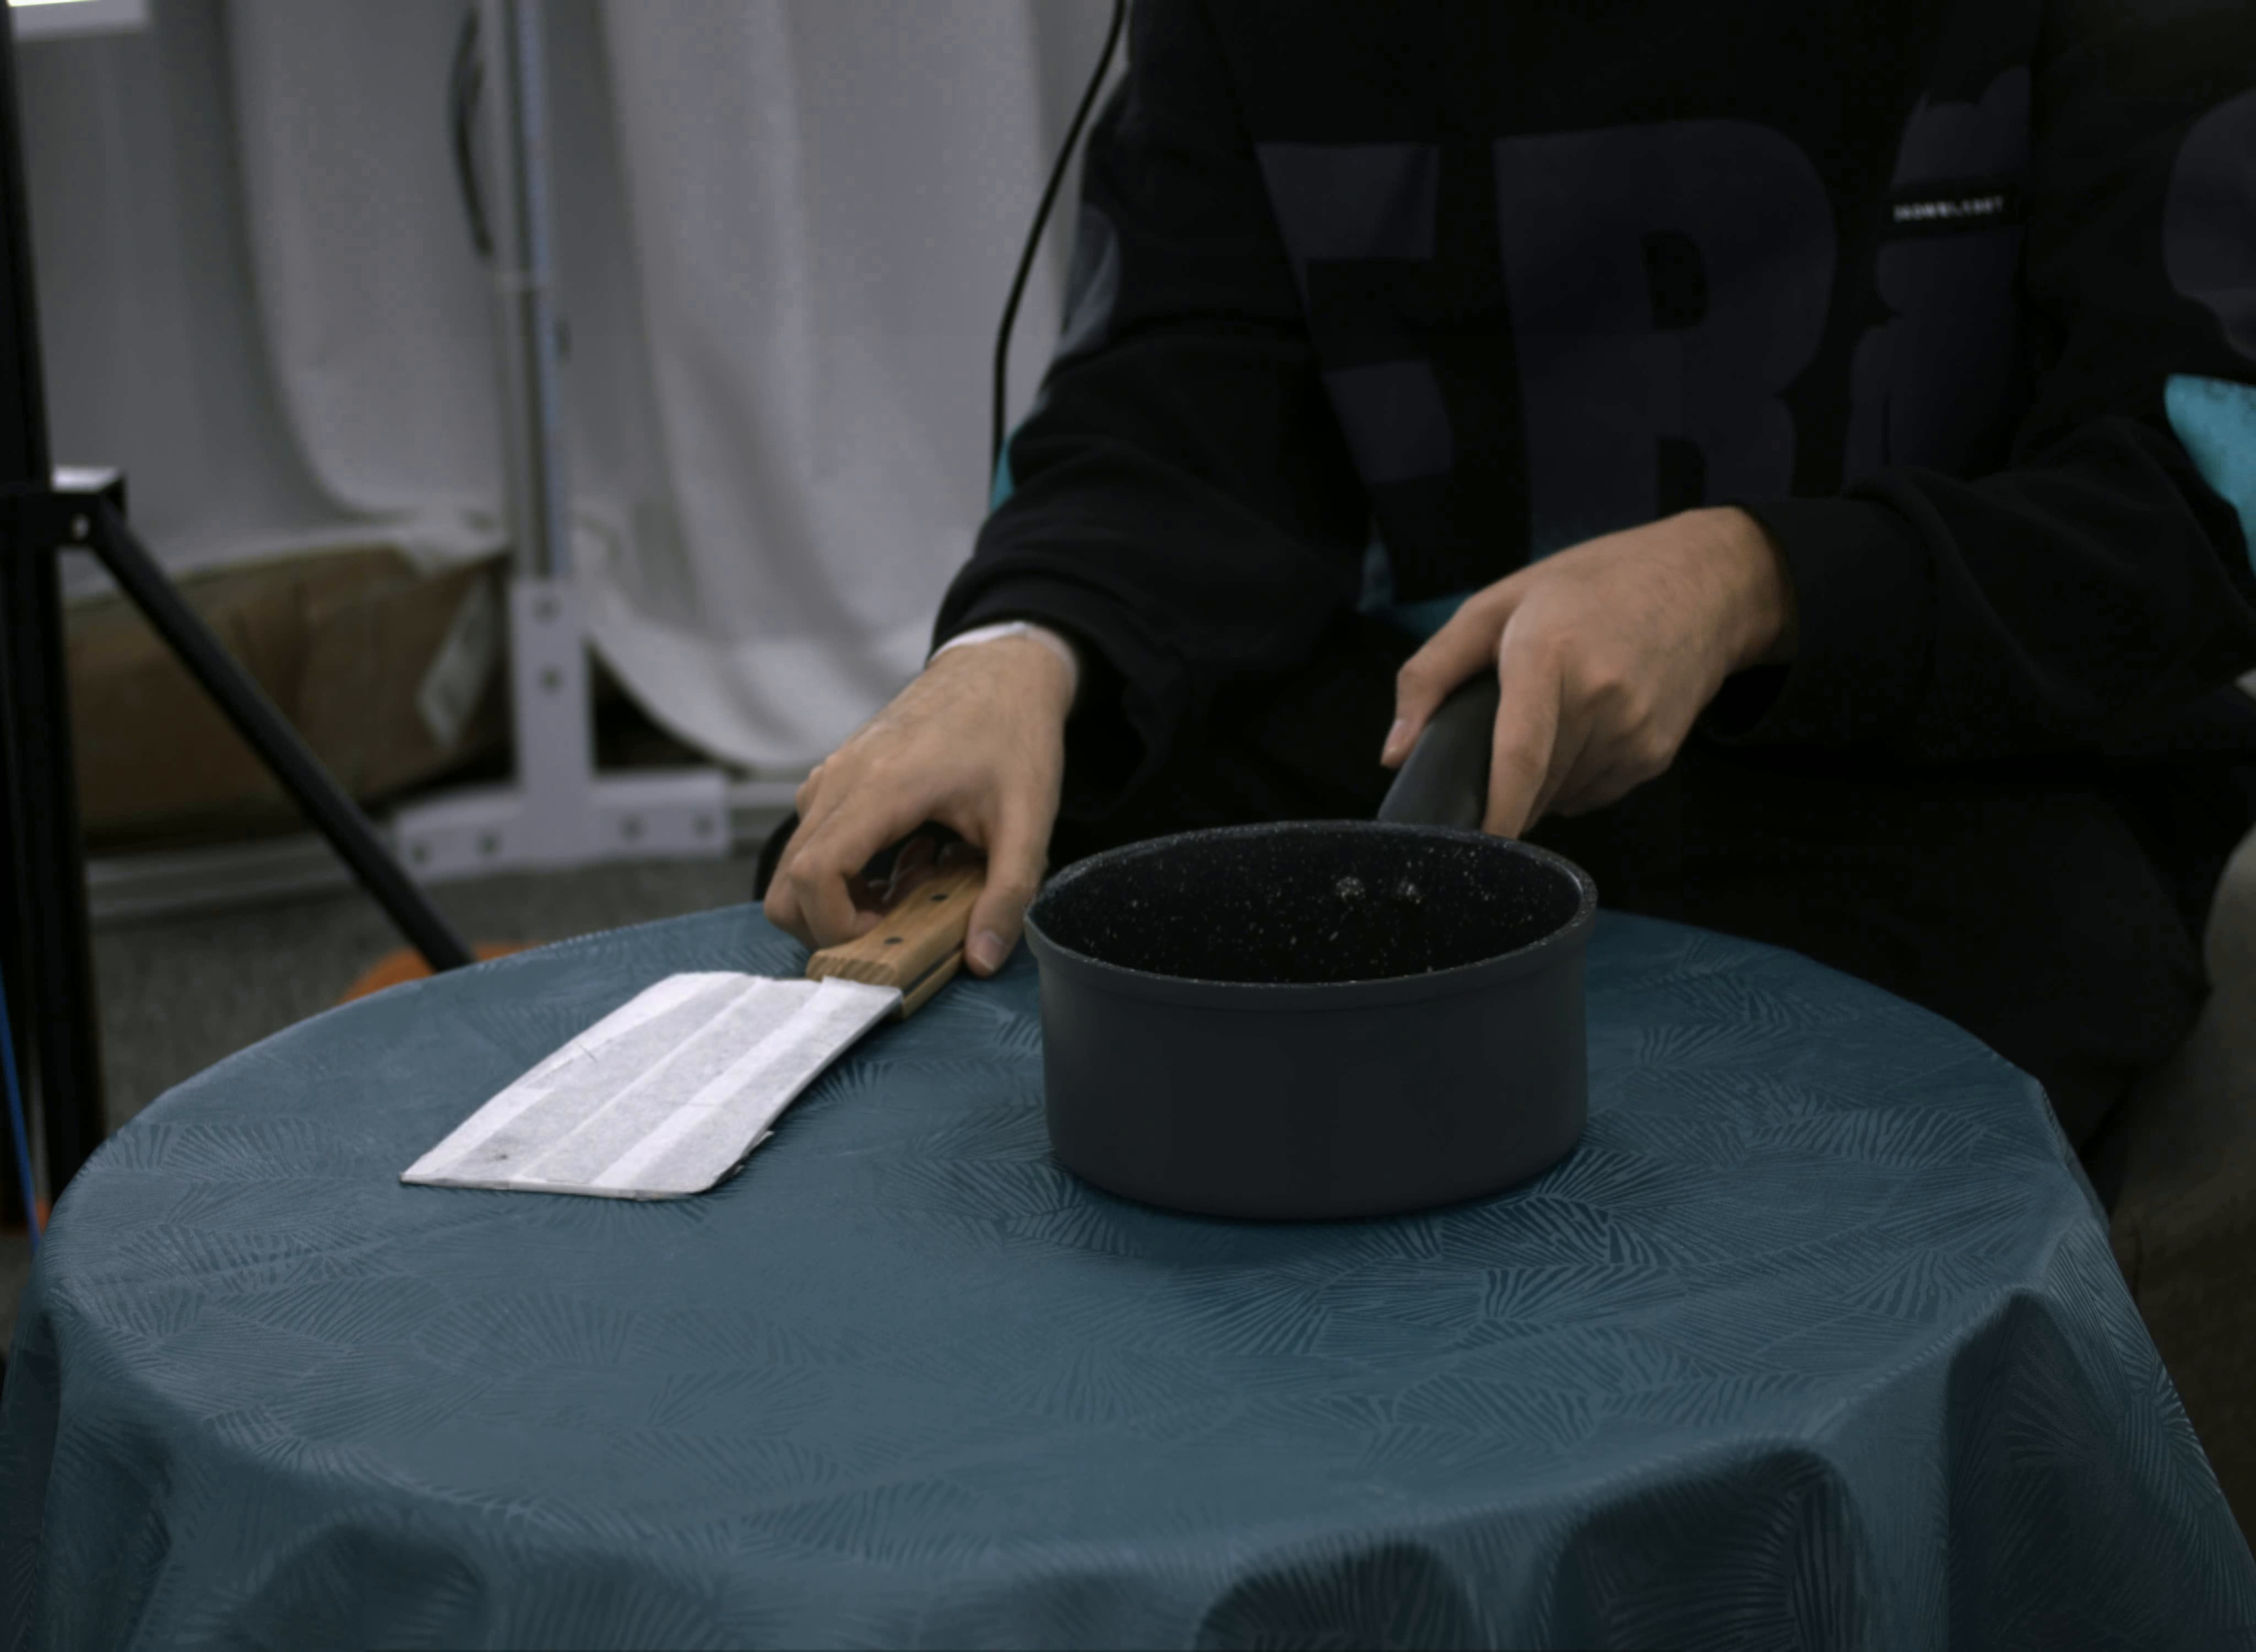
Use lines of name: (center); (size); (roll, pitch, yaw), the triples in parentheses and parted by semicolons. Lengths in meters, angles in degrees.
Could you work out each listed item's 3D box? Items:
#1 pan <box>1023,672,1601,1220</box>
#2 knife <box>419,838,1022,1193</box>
pan: (0.081, 0.034, 1.654); (0.174, 0.086, 0.325); (5, 18, 20)
knife: (-0.113, 0.061, 1.710); (0.116, 0.022, 0.311); (5, 20, 26)
